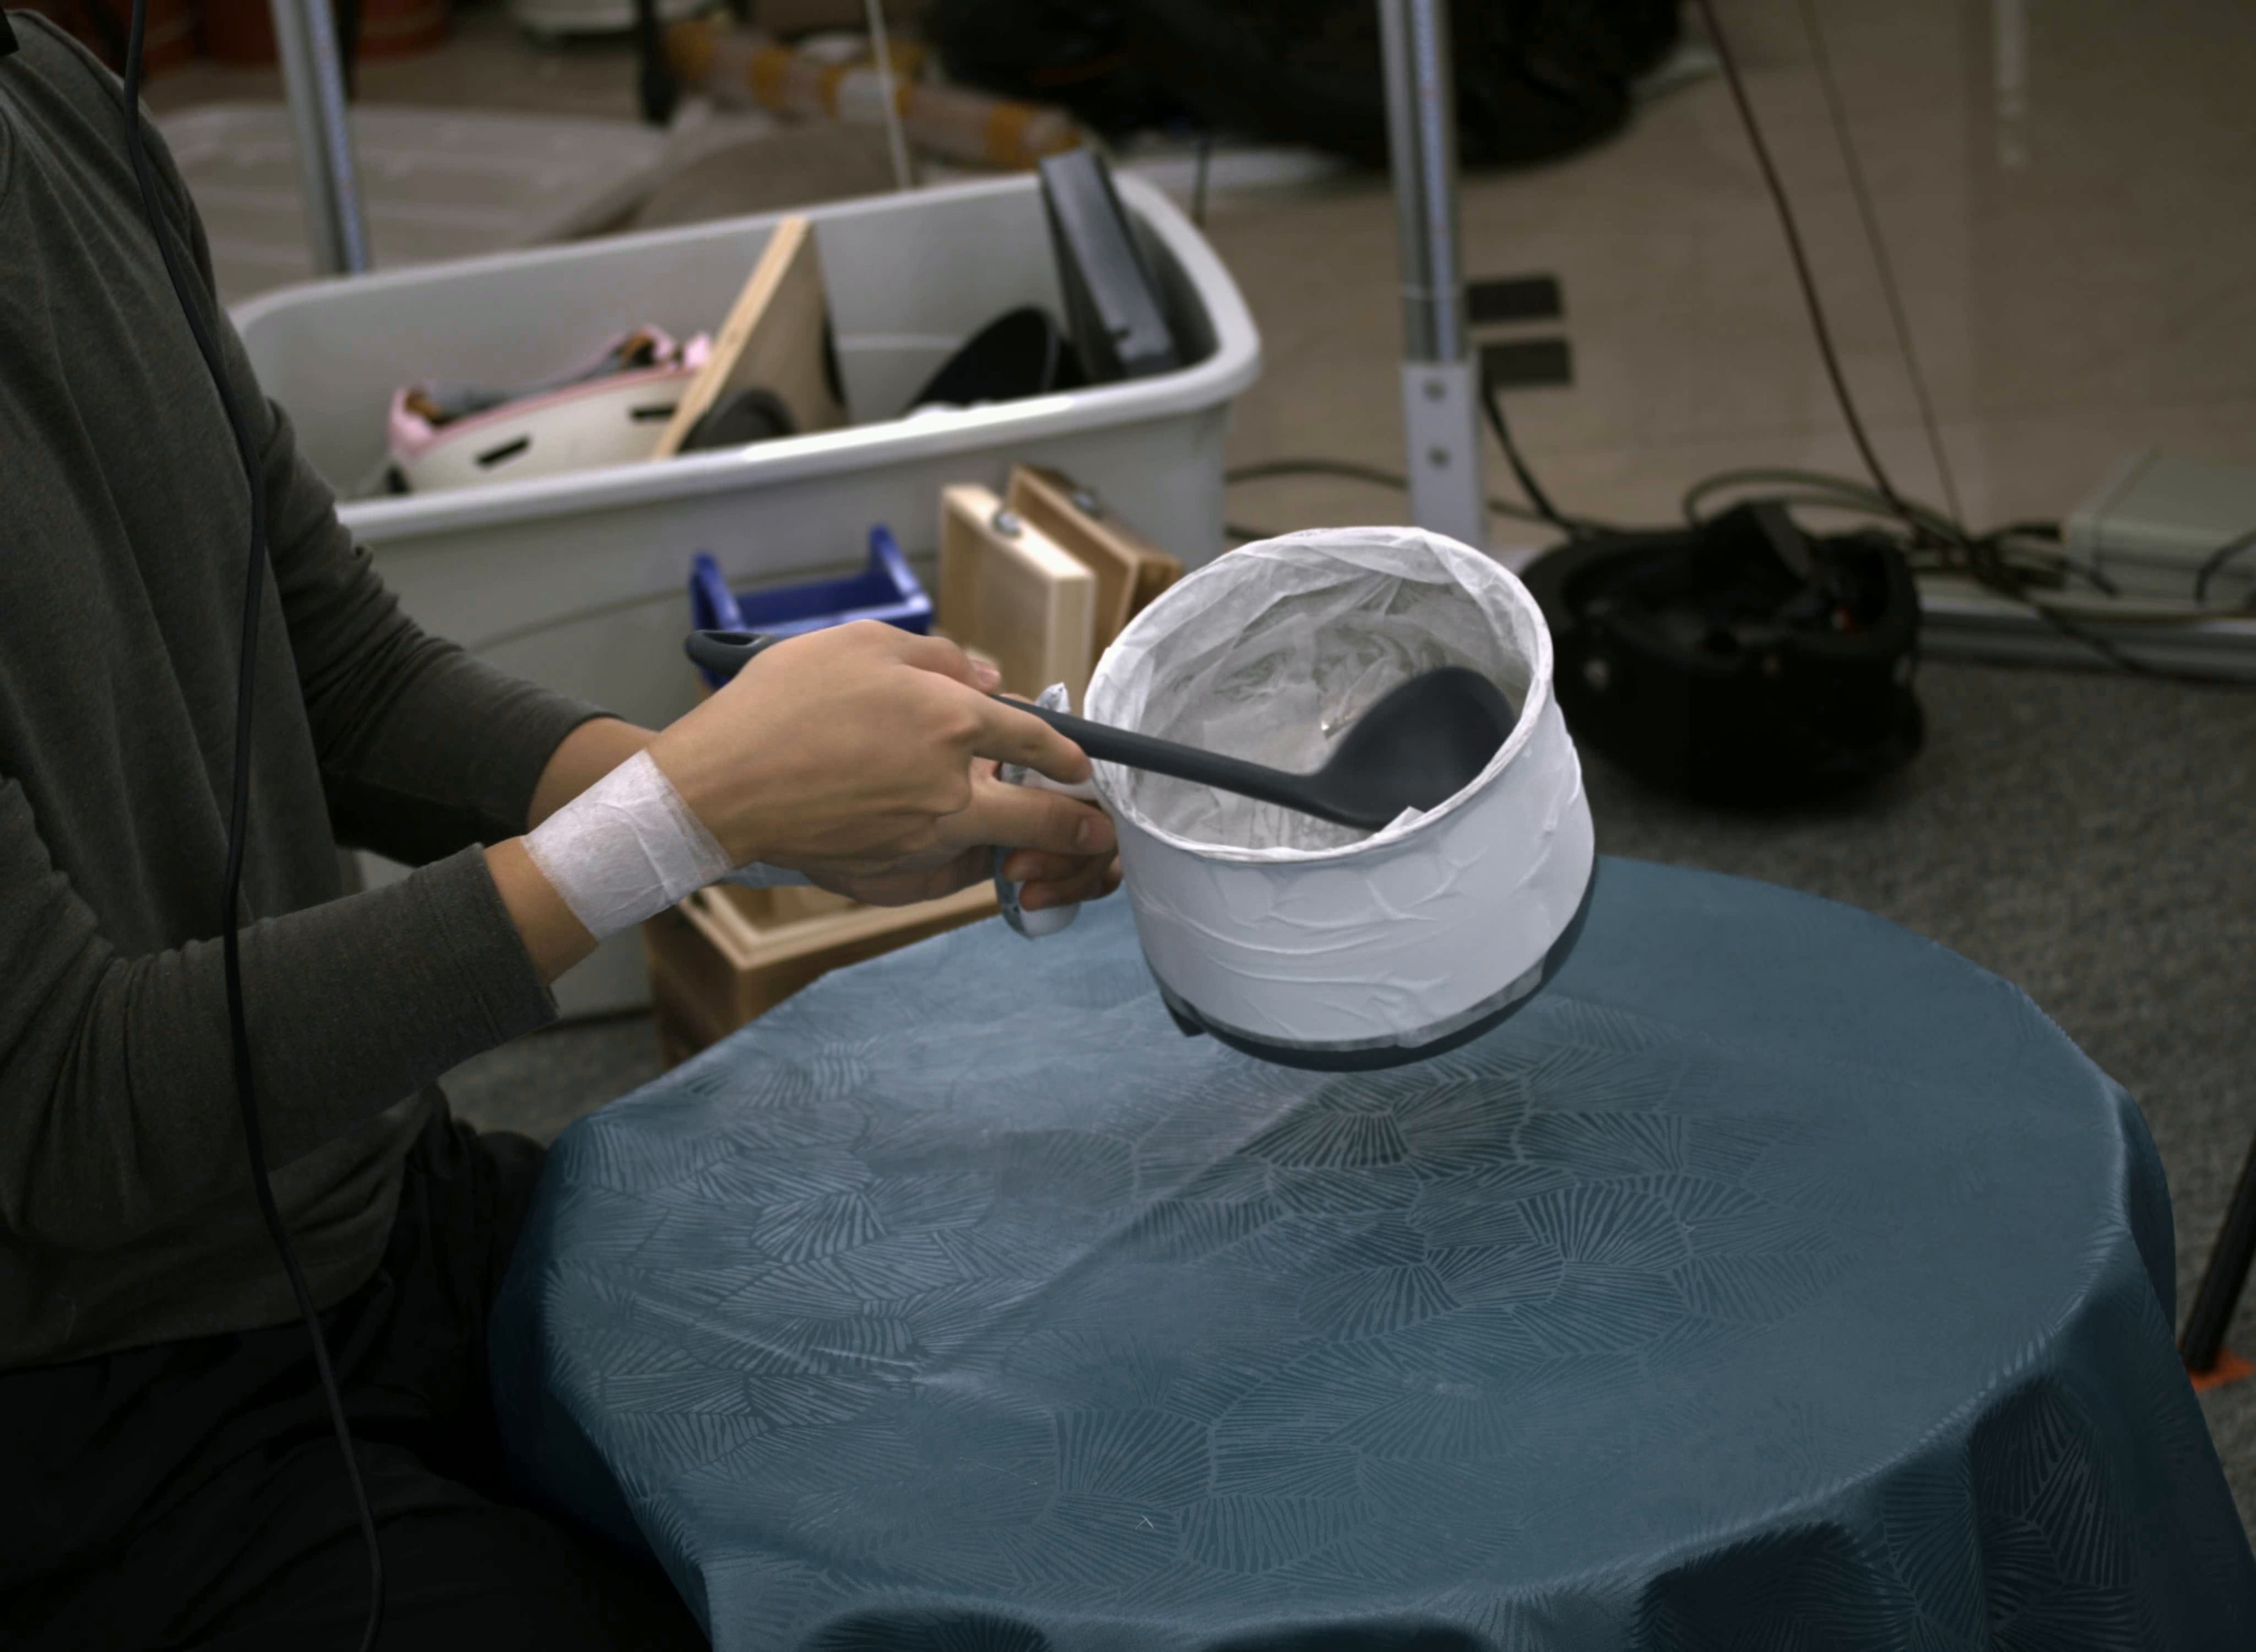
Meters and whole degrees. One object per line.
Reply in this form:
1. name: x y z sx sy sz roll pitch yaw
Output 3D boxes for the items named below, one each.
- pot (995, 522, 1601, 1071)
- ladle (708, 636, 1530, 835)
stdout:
1. pot: 0.057 -0.006 2.125 0.233 0.139 0.175 -3 46 15
2. ladle: 0.001 -0.048 2.046 0.315 0.065 0.085 14 21 -22
